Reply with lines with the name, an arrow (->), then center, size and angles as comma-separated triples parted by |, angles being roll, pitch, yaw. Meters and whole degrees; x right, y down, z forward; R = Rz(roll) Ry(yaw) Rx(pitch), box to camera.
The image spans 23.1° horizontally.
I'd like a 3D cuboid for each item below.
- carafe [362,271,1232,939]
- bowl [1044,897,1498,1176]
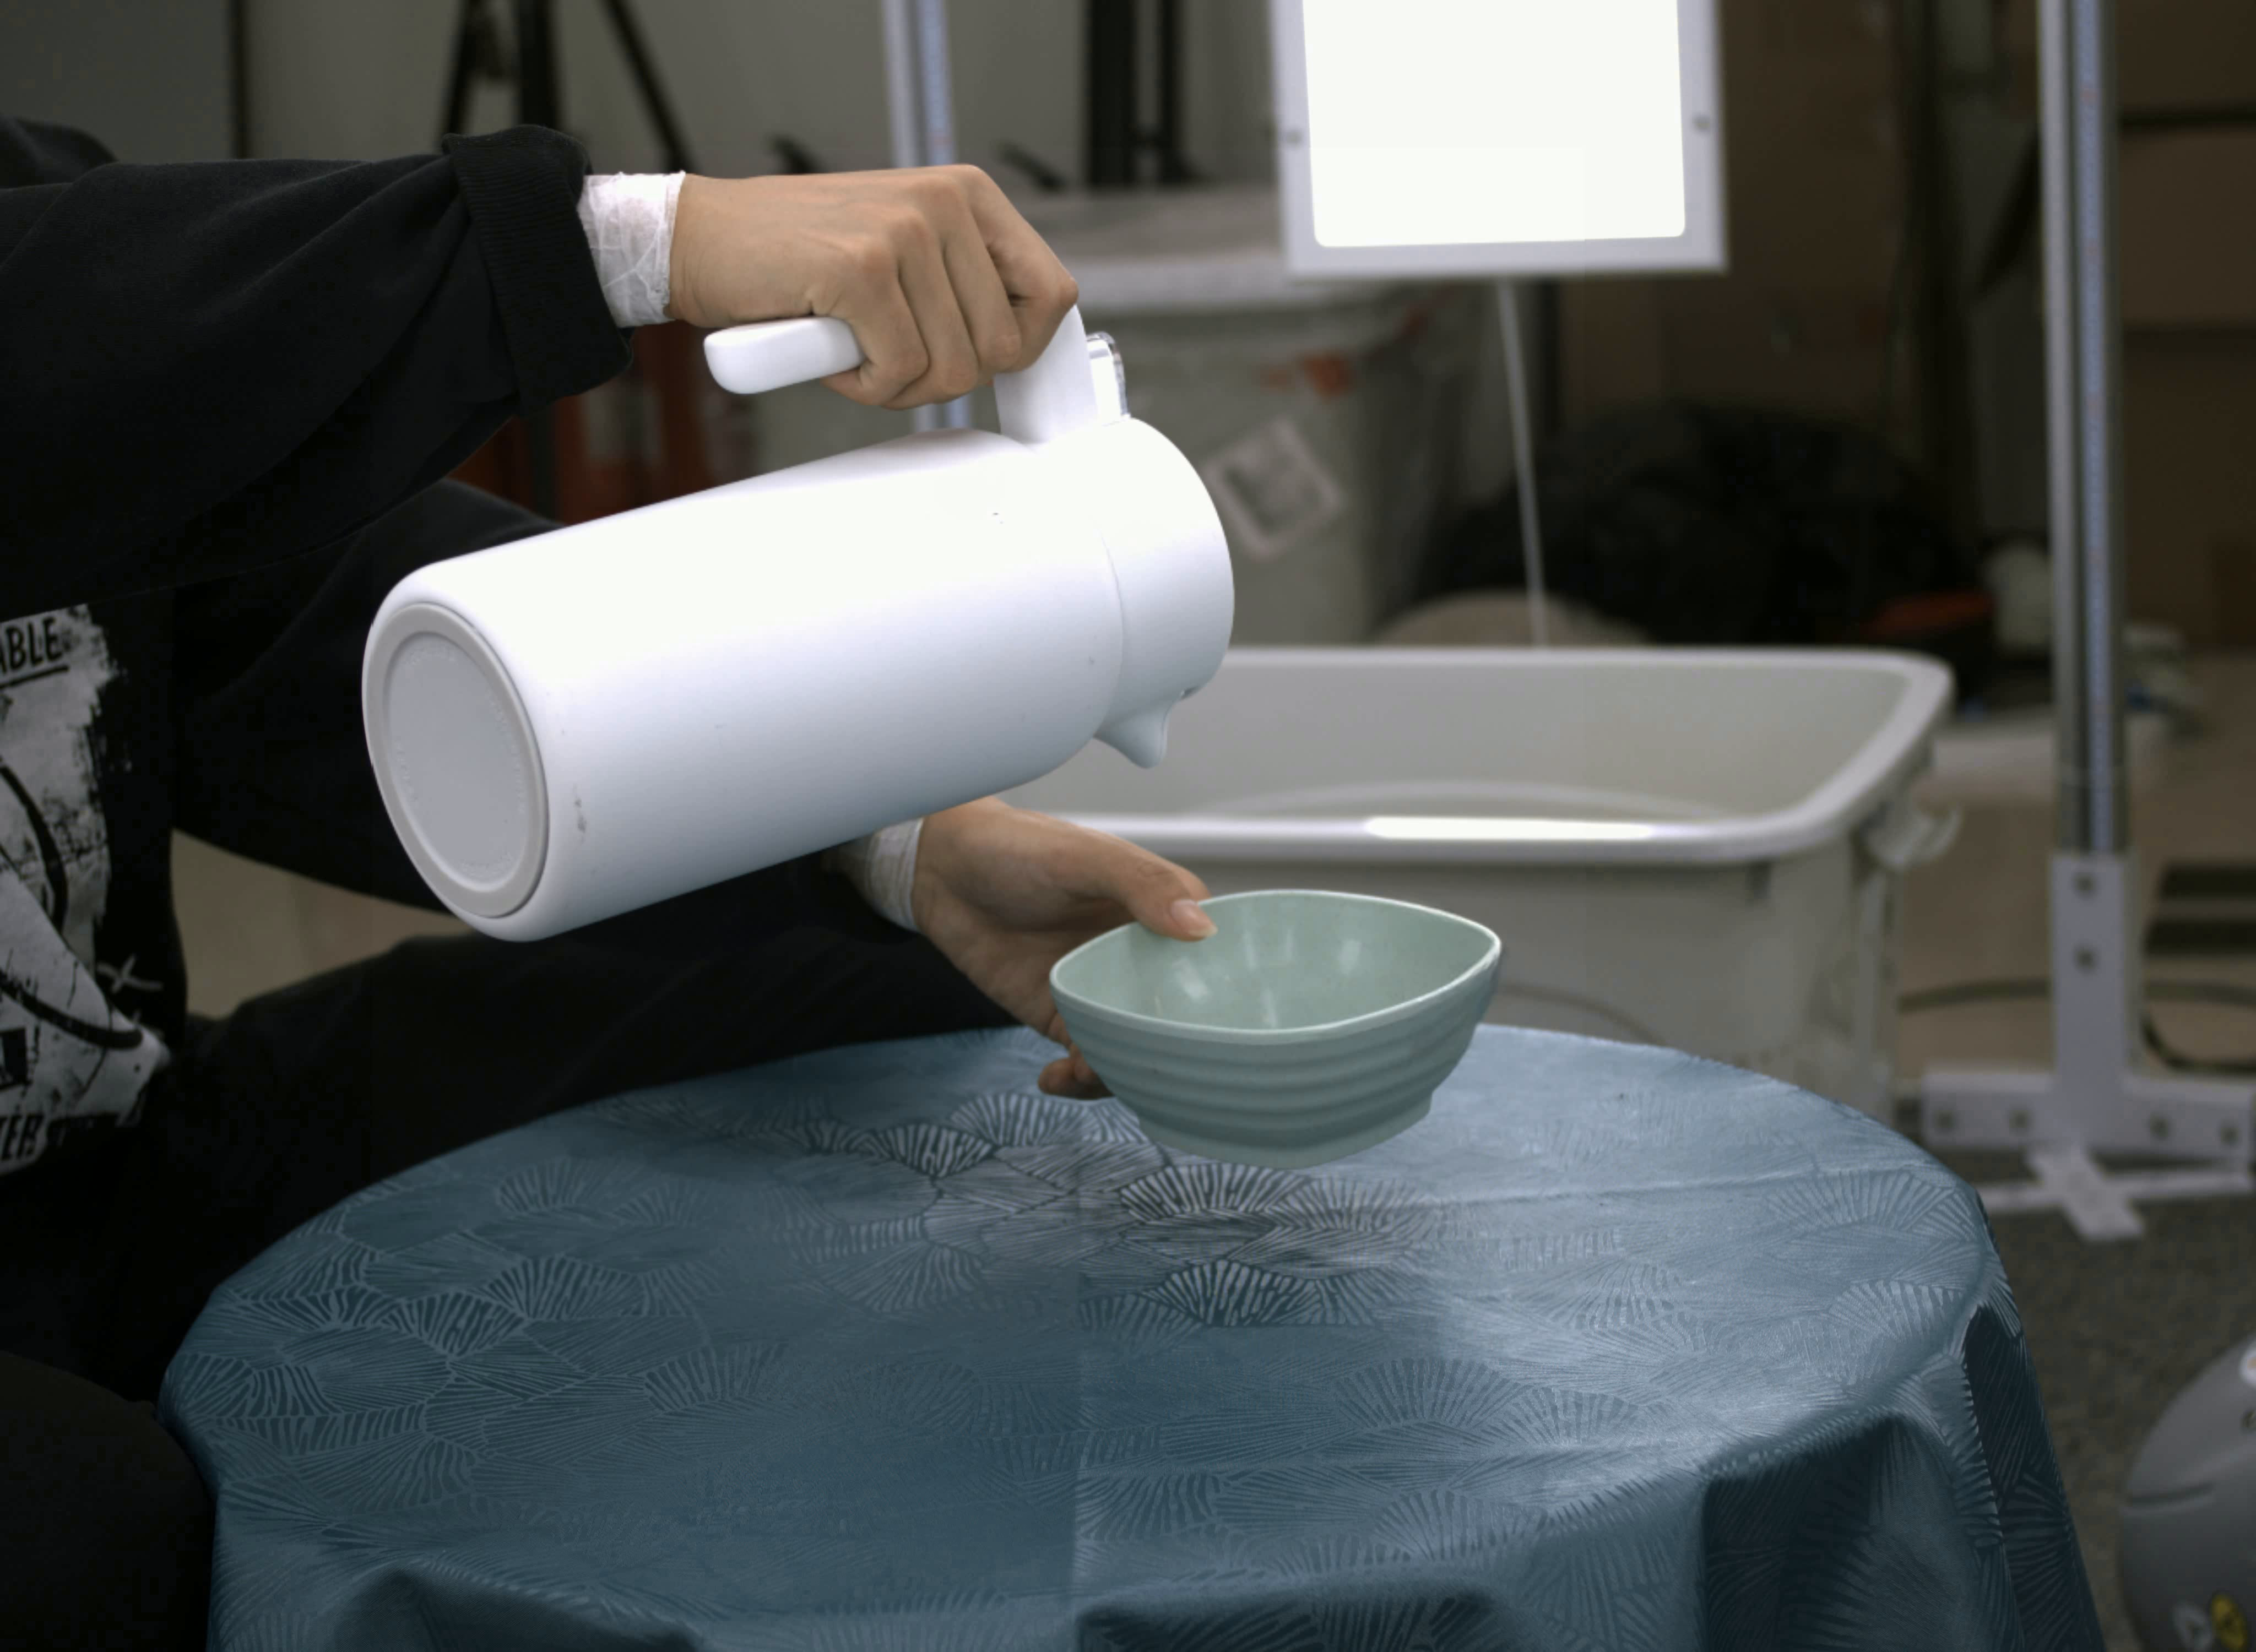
carafe -> -0.101, -0.070, 1.709 | 0.262, 0.173, 0.126 | -18, 16, -32
bowl -> 0.049, 0.073, 1.826 | 0.151, 0.059, 0.151 | -5, 16, 0
